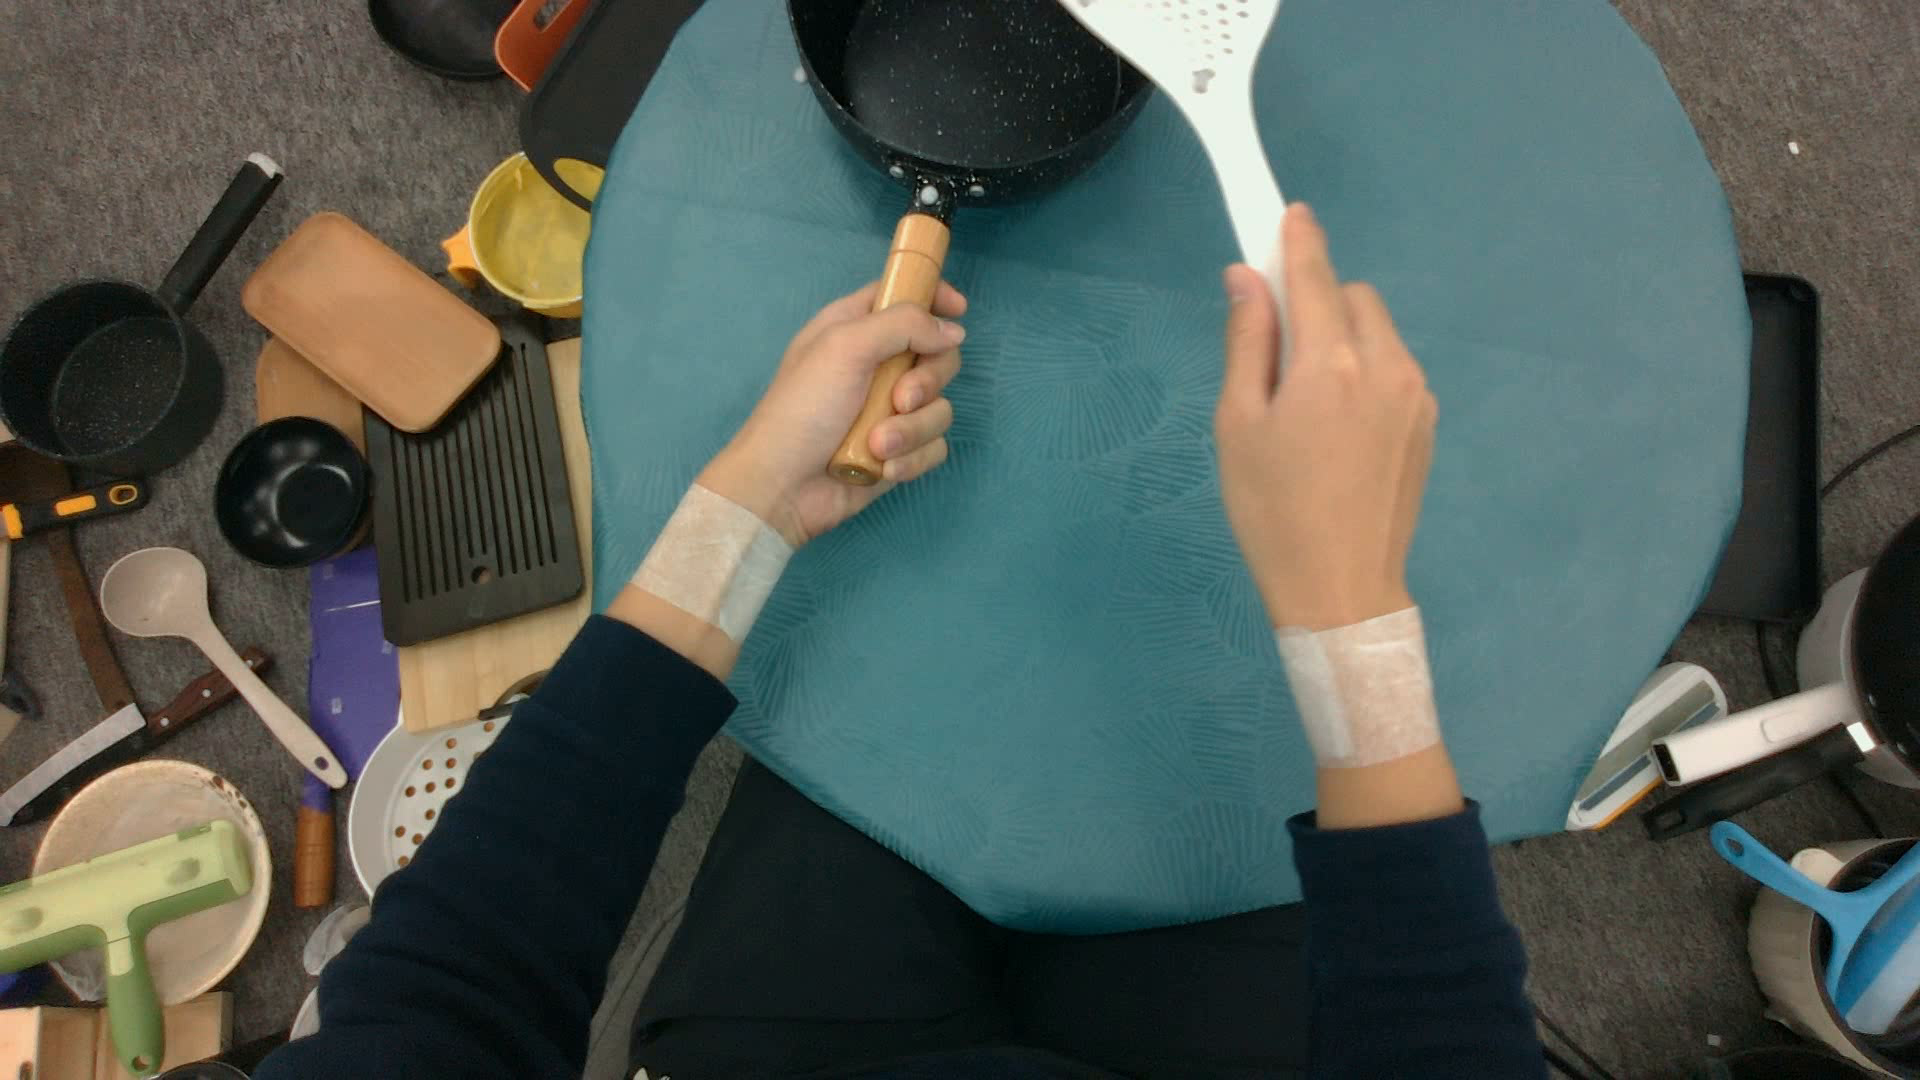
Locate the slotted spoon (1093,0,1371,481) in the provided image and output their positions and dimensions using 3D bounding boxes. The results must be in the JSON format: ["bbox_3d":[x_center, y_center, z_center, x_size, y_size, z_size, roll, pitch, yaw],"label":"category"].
[{"bbox_3d":[0.111,-0.189,0.580,0.137,0.050,0.349,-8,68,-16],"label":"slotted spoon"}]

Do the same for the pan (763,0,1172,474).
[{"bbox_3d":[-0.014,-0.185,0.668,0.207,0.108,0.343,12,79,2],"label":"pan"}]
